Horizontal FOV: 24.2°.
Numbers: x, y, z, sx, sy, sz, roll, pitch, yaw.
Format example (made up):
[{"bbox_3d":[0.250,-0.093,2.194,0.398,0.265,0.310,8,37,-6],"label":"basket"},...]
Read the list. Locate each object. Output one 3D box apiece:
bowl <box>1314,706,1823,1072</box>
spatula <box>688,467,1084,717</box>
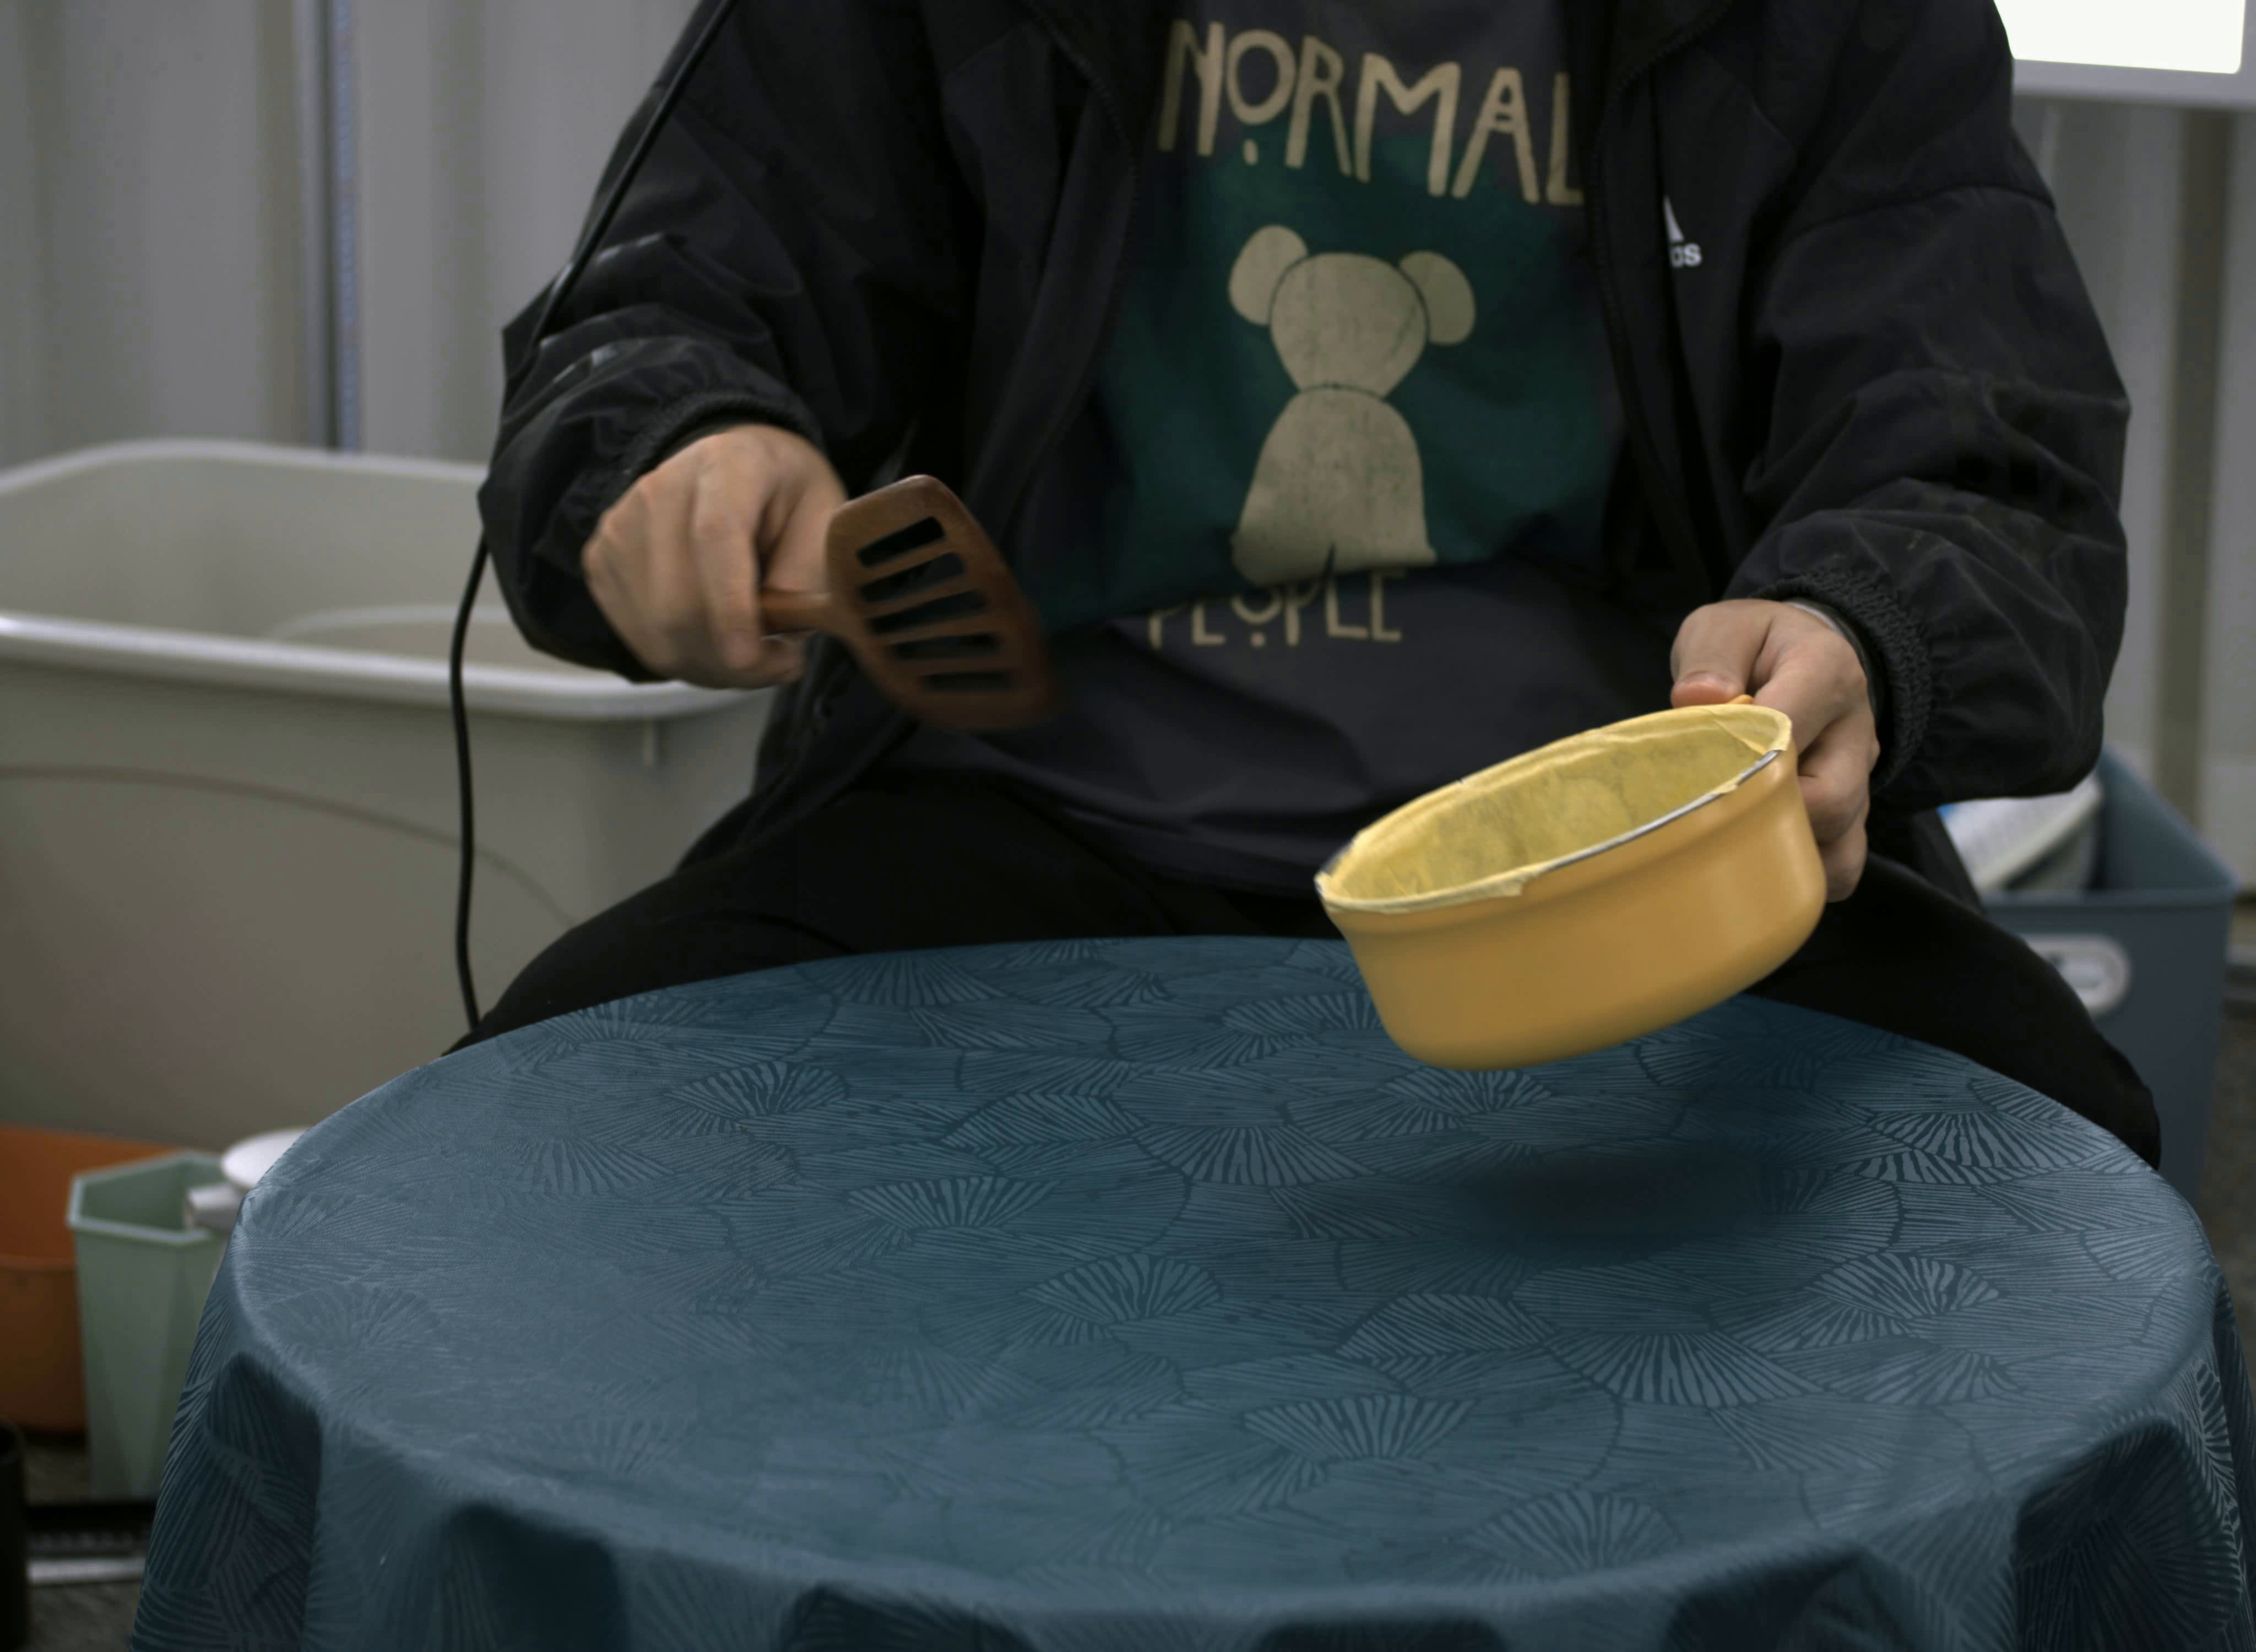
[{"bbox_3d":[0.147,0.018,1.614,0.151,0.075,0.179,-12,15,36],"label":"bowl"},{"bbox_3d":[-0.095,-0.067,1.714,0.024,0.086,0.384,-38,10,-14],"label":"spatula"}]
